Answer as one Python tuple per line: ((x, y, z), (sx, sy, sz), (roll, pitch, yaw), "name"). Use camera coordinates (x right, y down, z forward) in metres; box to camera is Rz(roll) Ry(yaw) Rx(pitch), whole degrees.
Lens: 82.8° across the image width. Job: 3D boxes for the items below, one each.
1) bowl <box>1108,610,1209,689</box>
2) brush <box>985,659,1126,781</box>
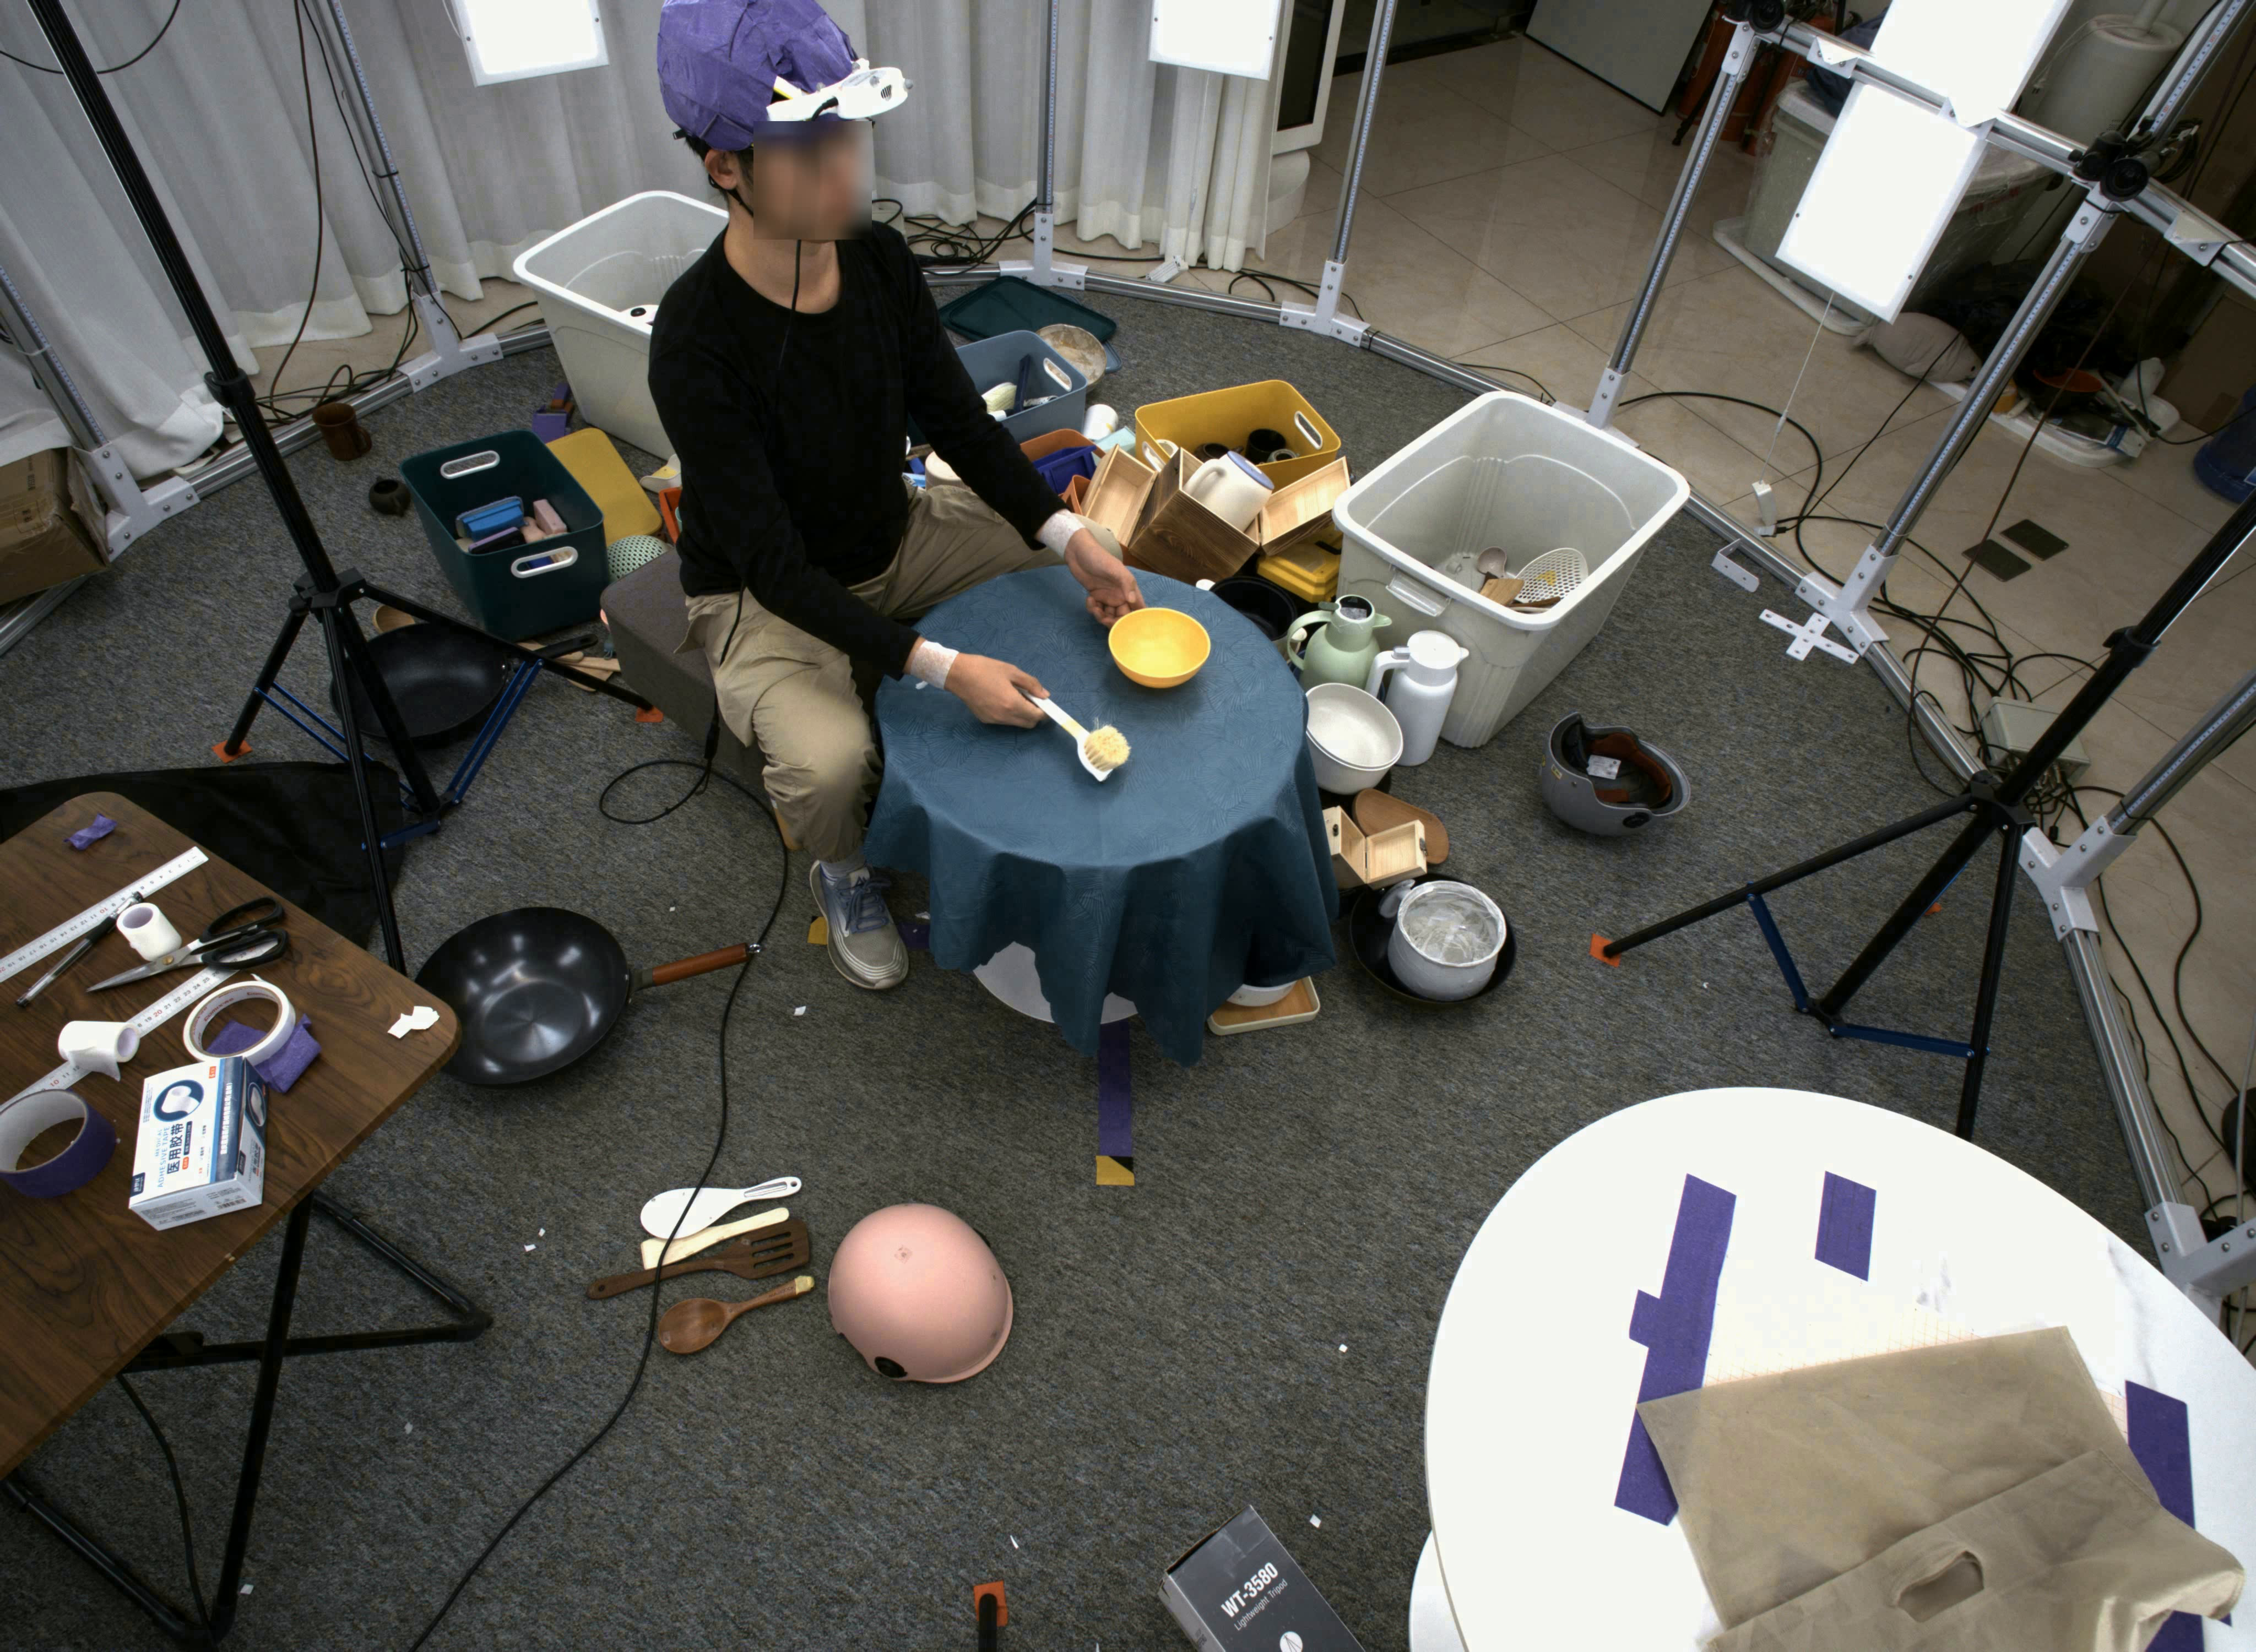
((0.042, -0.243, 1.846), (0.145, 0.058, 0.149), (2, 48, -3), "bowl")
((-0.102, -0.164, 1.747), (0.271, 0.055, 0.068), (47, 28, 25), "brush")
